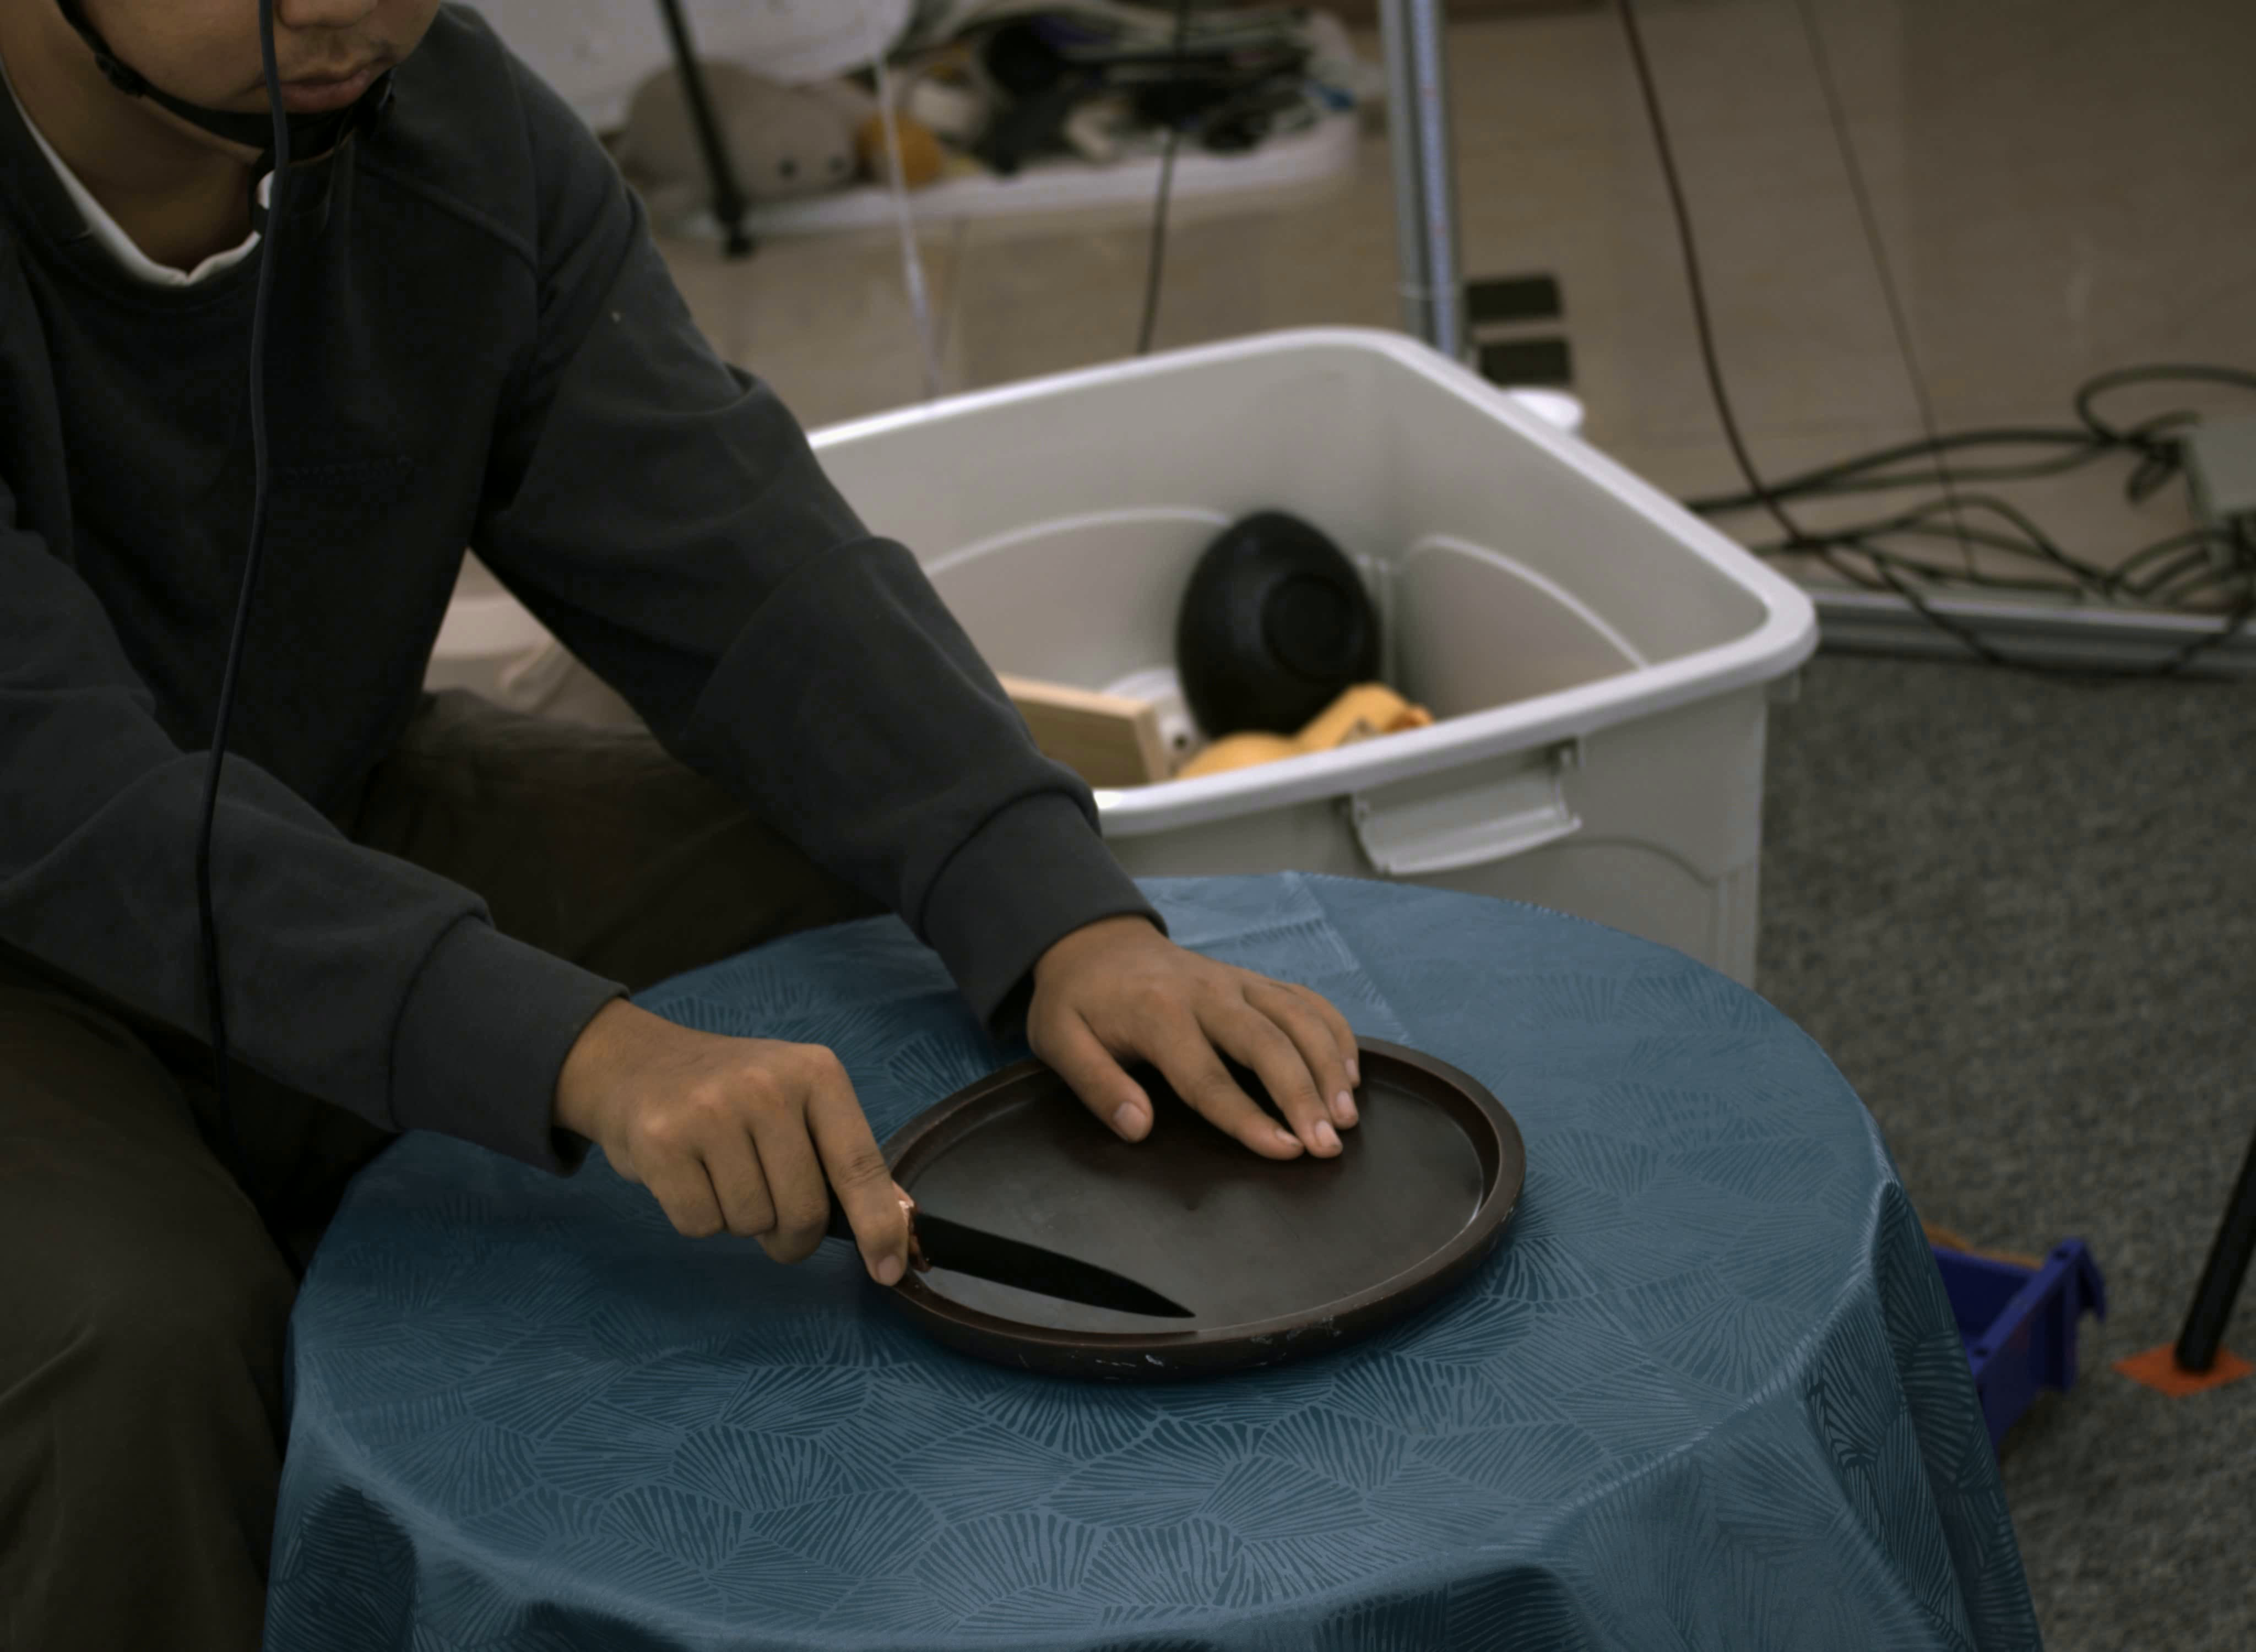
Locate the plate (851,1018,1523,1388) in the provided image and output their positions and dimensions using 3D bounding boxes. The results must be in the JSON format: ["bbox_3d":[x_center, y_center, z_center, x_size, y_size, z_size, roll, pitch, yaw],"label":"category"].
[{"bbox_3d":[0.022,0.139,2.115,0.254,0.029,0.251,-7,25,3],"label":"plate"}]

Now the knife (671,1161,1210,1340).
[{"bbox_3d":[-0.070,0.154,2.060,0.224,0.026,0.017,13,33,26],"label":"knife"}]
